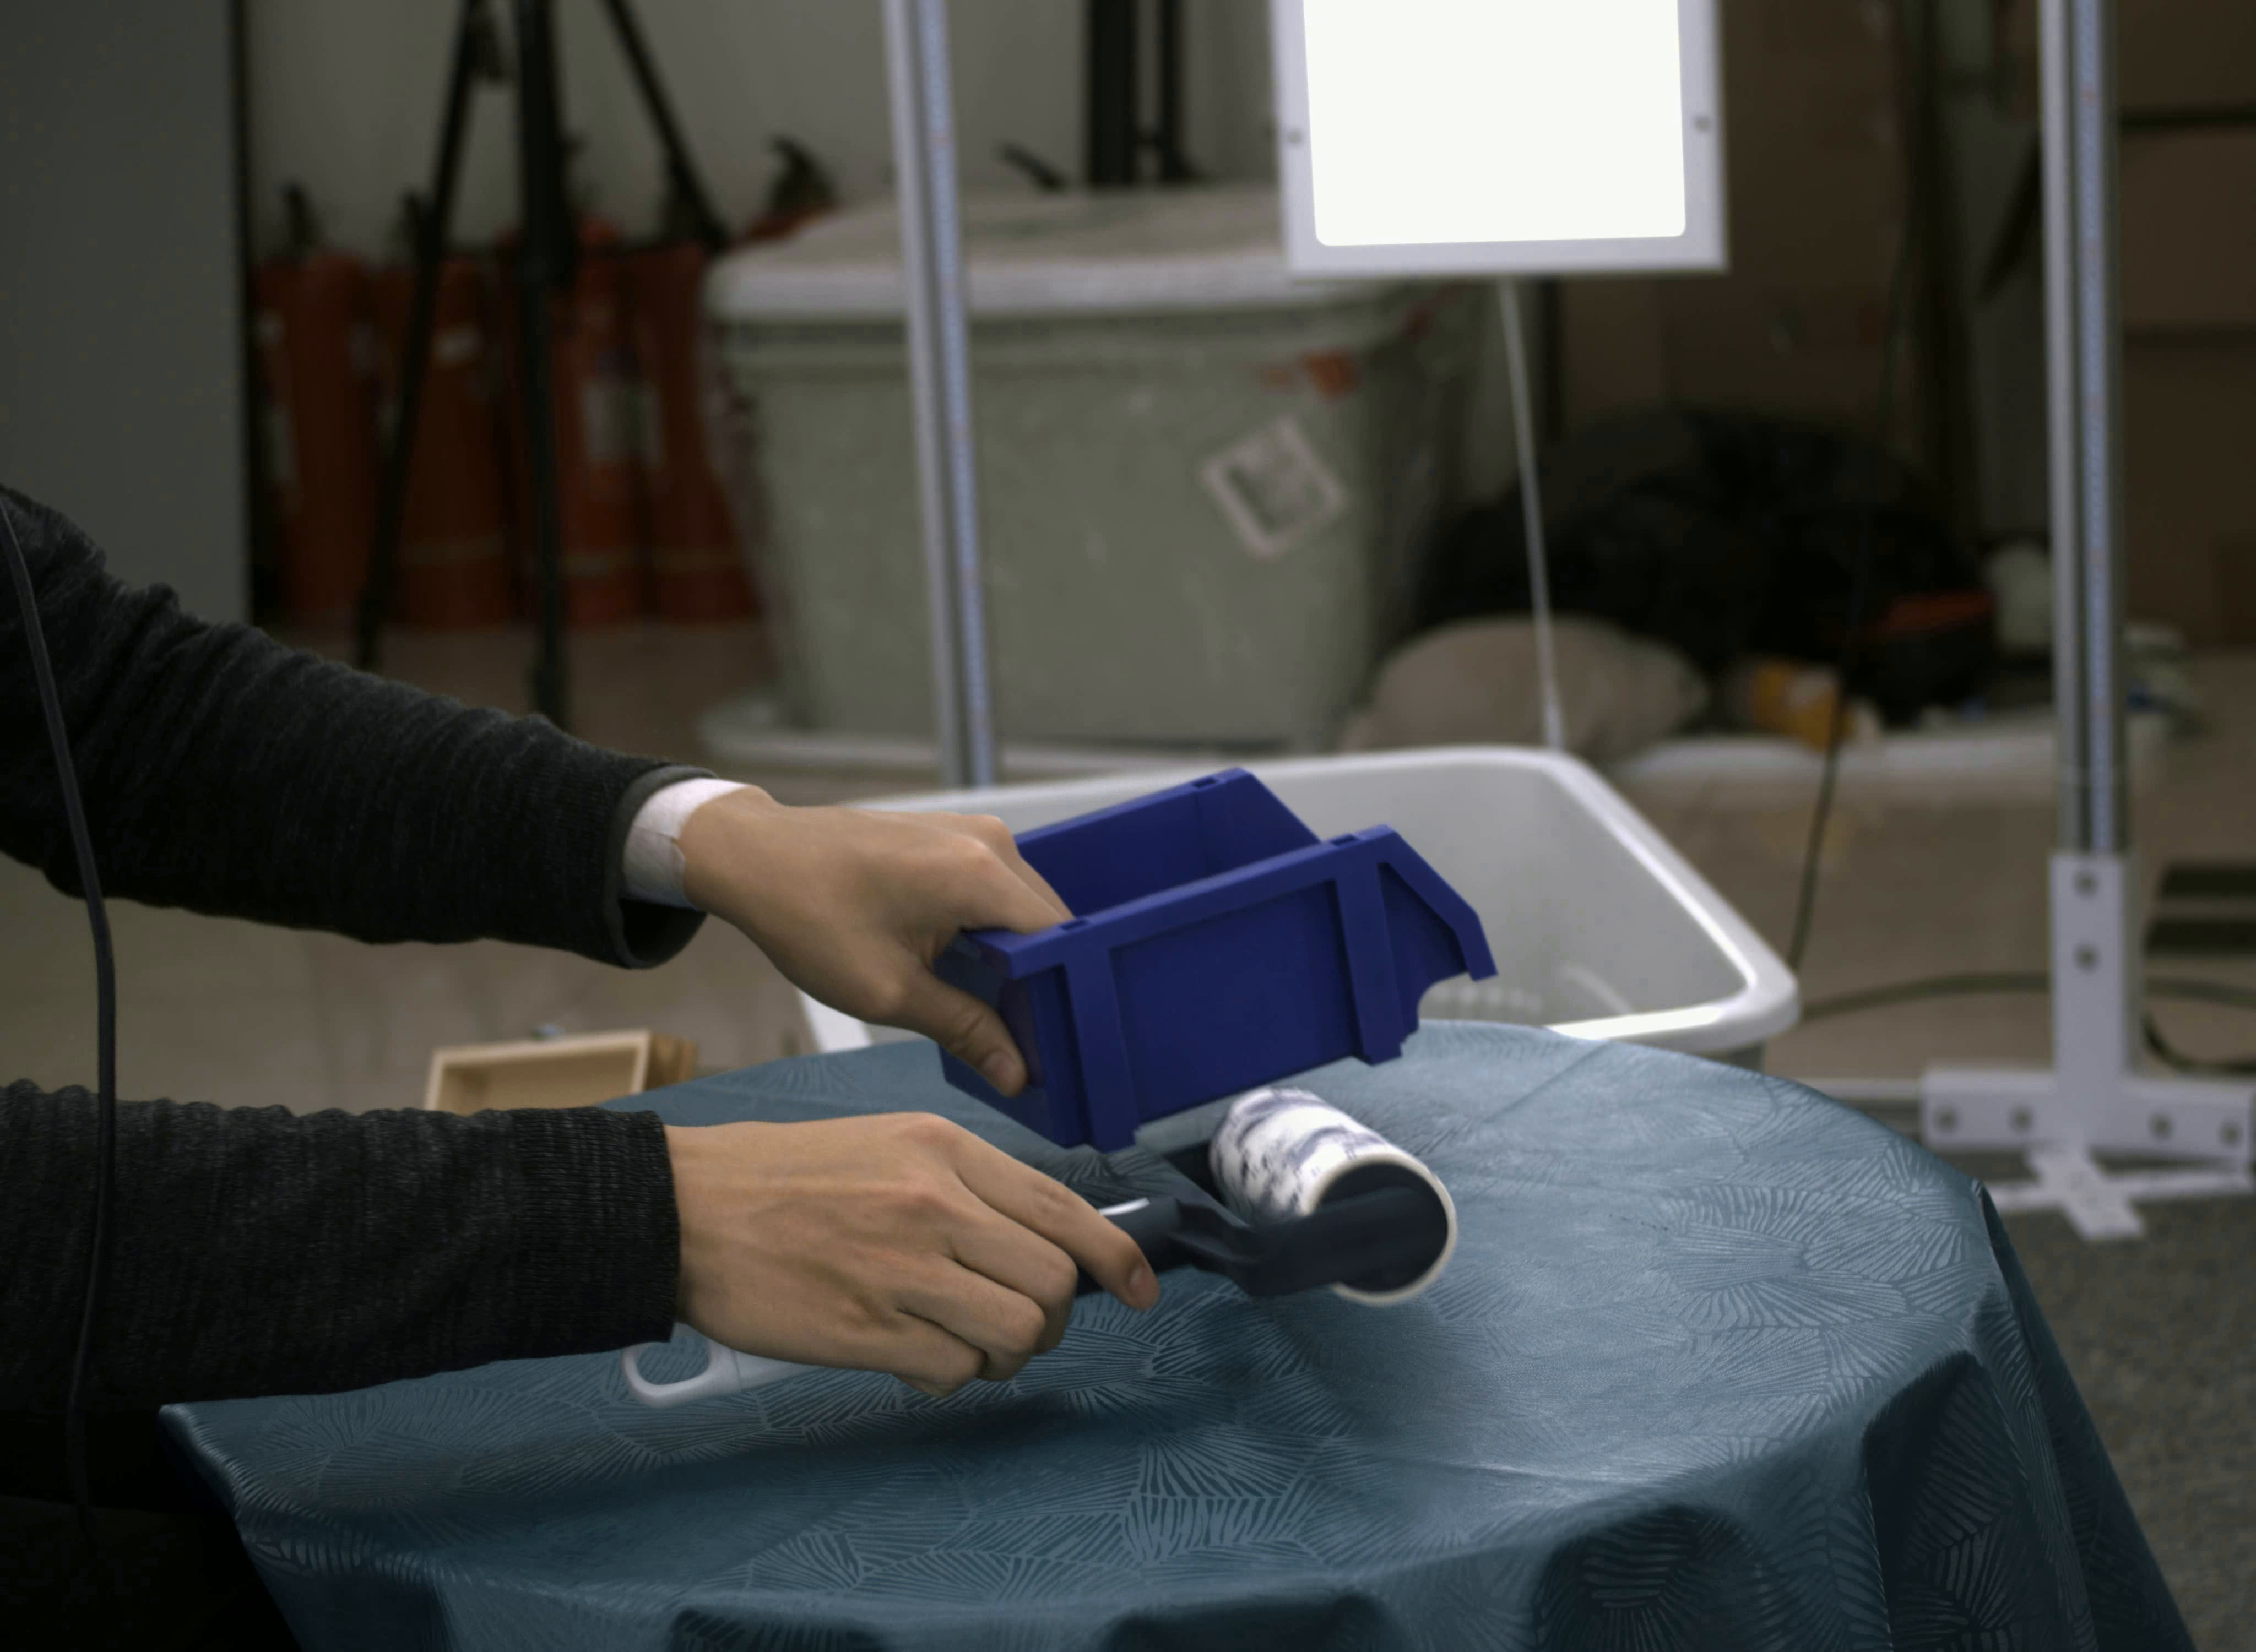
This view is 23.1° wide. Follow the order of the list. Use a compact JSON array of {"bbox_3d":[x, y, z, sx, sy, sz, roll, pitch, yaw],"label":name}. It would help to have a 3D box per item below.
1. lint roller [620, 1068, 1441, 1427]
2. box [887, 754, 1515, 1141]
[{"bbox_3d":[-0.037,0.132,1.687,0.245,0.050,0.177,-14,7,-7],"label":"lint roller"},{"bbox_3d":[0.025,0.038,1.914,0.176,0.082,0.126,-19,17,-18],"label":"box"}]
